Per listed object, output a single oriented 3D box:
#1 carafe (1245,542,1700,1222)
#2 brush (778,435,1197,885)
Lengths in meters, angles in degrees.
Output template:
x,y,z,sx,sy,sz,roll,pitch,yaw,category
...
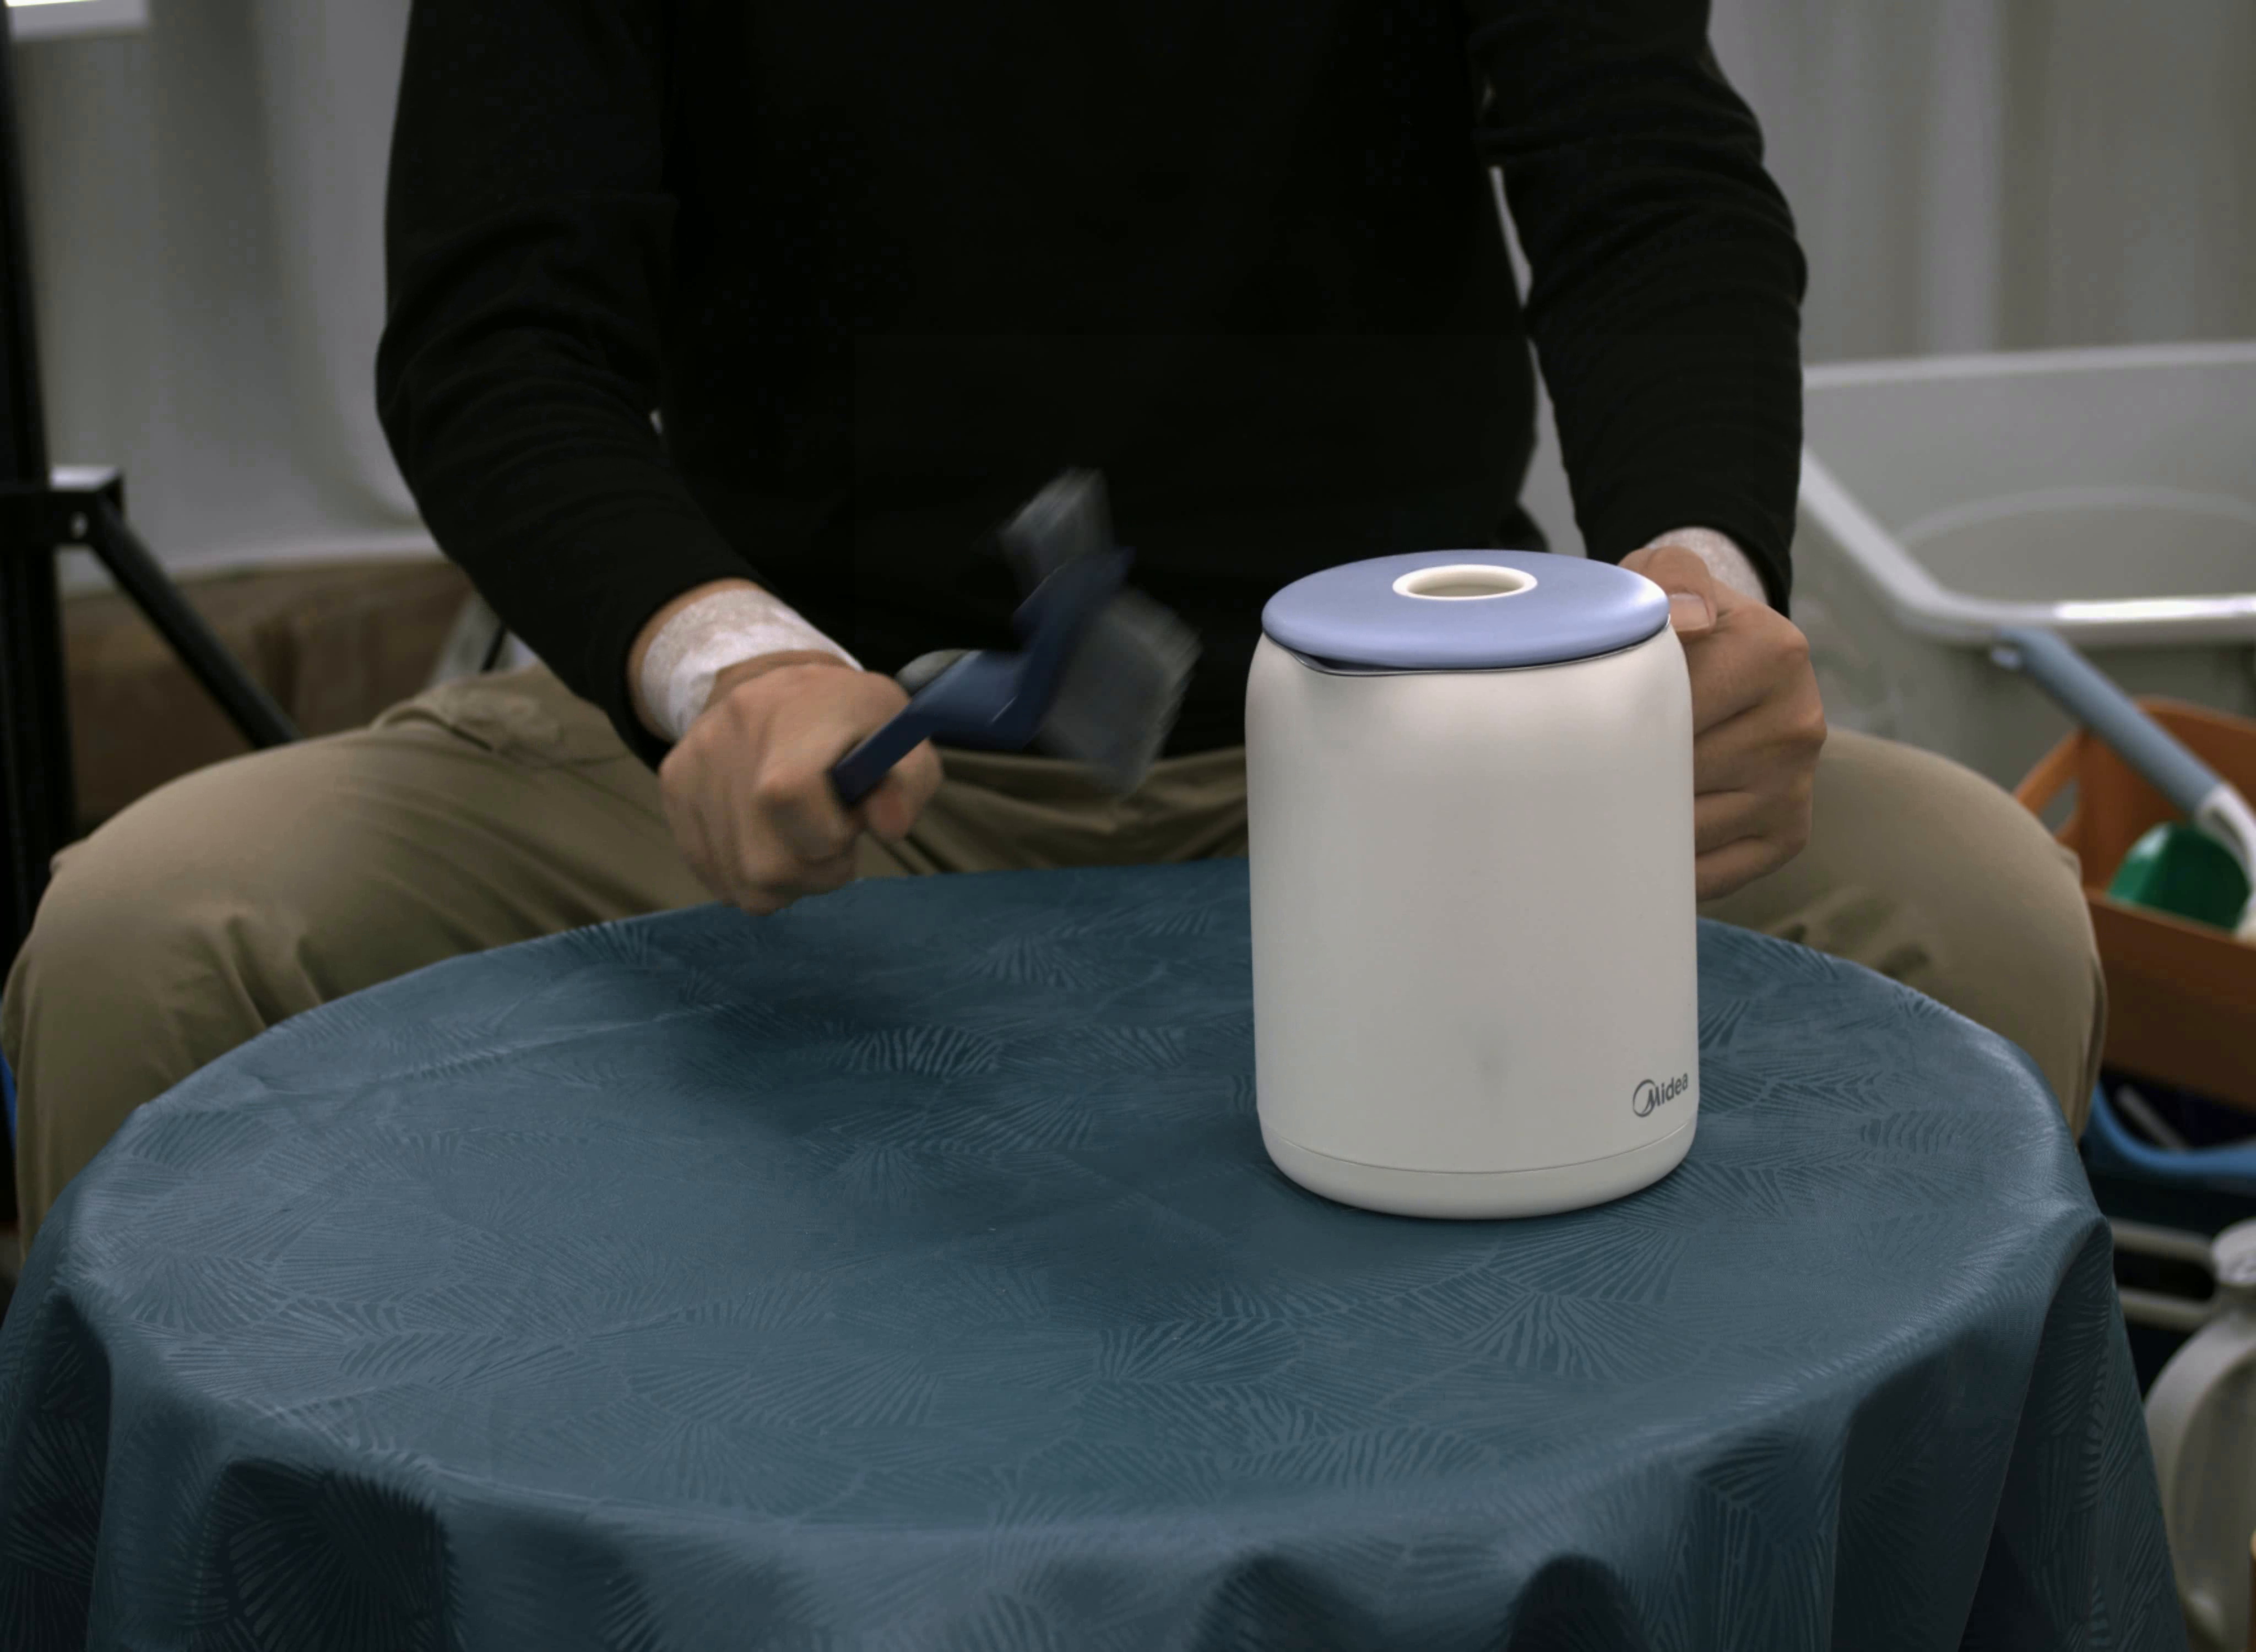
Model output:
x,y,z,sx,sy,sz,roll,pitch,yaw,category
0.115,0.010,1.570,0.135,0.182,0.187,9,18,36,carafe
-0.057,-0.044,1.618,0.033,0.095,0.277,-51,14,-31,brush
